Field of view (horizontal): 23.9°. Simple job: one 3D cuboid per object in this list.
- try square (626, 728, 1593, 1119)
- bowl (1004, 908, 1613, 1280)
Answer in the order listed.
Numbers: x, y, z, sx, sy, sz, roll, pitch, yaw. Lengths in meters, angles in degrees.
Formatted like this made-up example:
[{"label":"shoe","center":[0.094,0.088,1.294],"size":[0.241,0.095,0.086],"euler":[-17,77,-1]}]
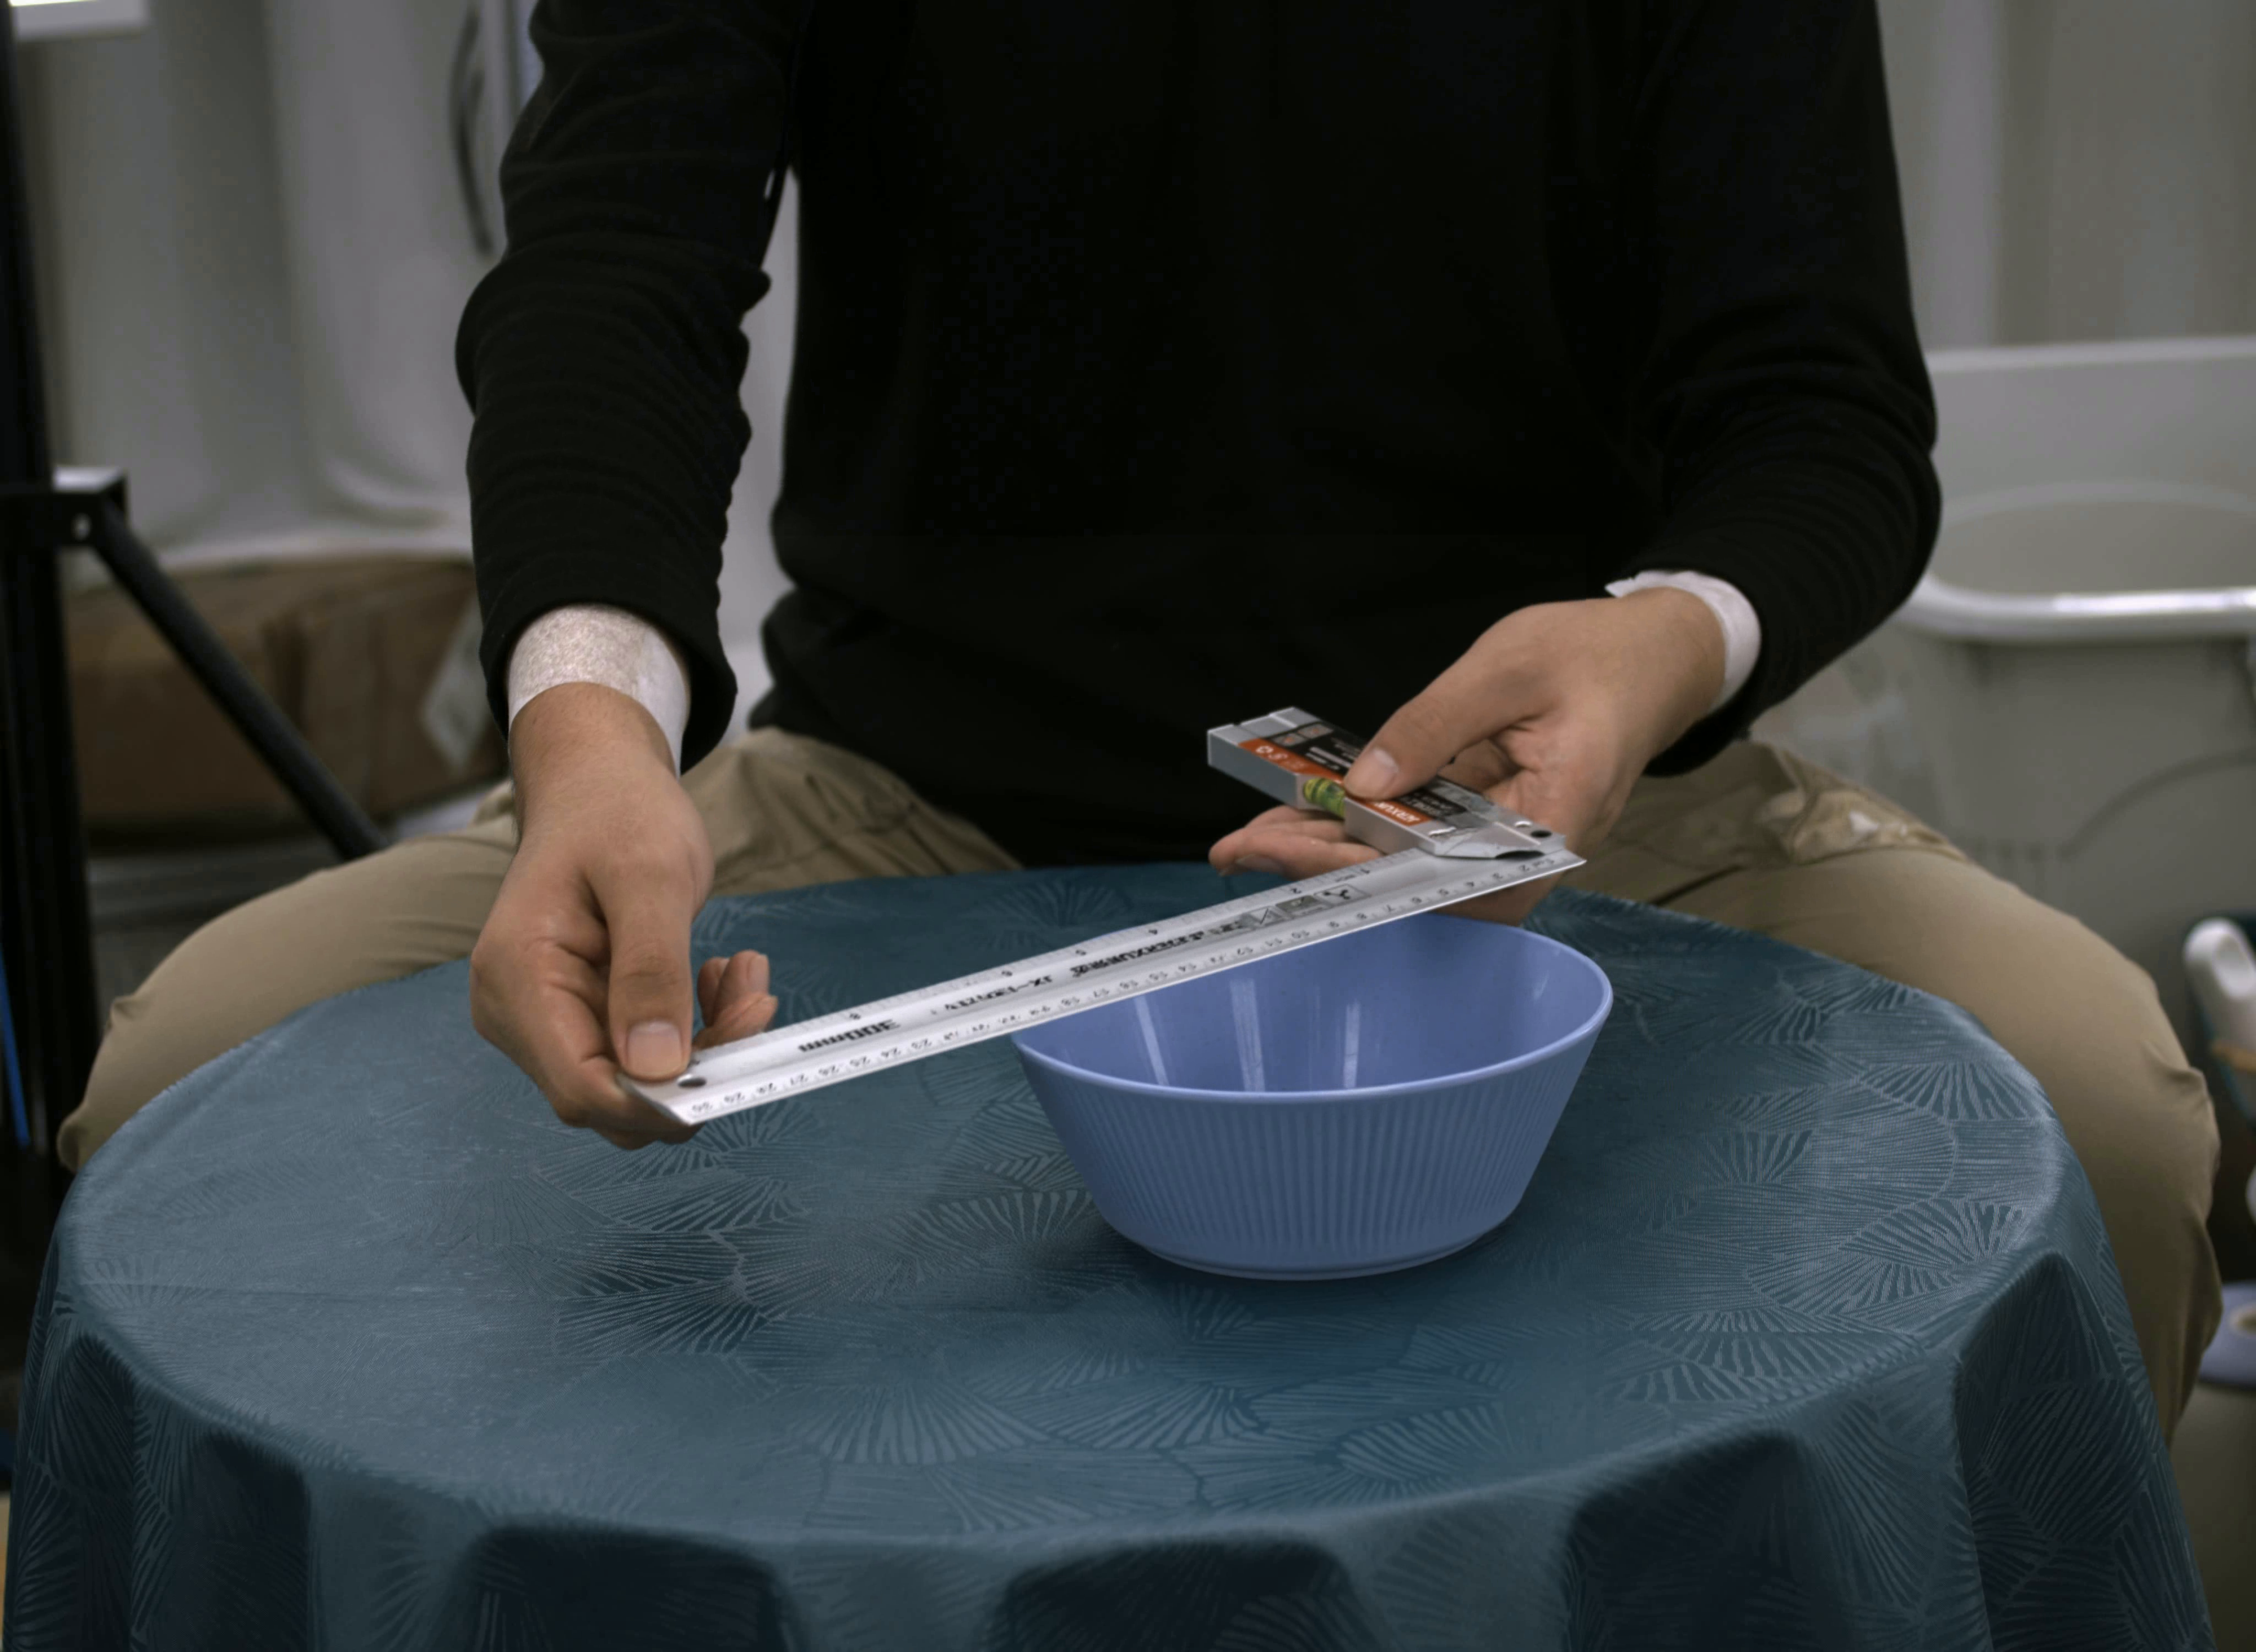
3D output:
[{"label":"try square","center":[-0.029,0.026,1.562],"size":[0.306,0.016,0.156],"euler":[-15,22,-29]},{"label":"bowl","center":[0.052,0.079,1.522],"size":[0.175,0.070,0.177],"euler":[-3,16,-1]}]
